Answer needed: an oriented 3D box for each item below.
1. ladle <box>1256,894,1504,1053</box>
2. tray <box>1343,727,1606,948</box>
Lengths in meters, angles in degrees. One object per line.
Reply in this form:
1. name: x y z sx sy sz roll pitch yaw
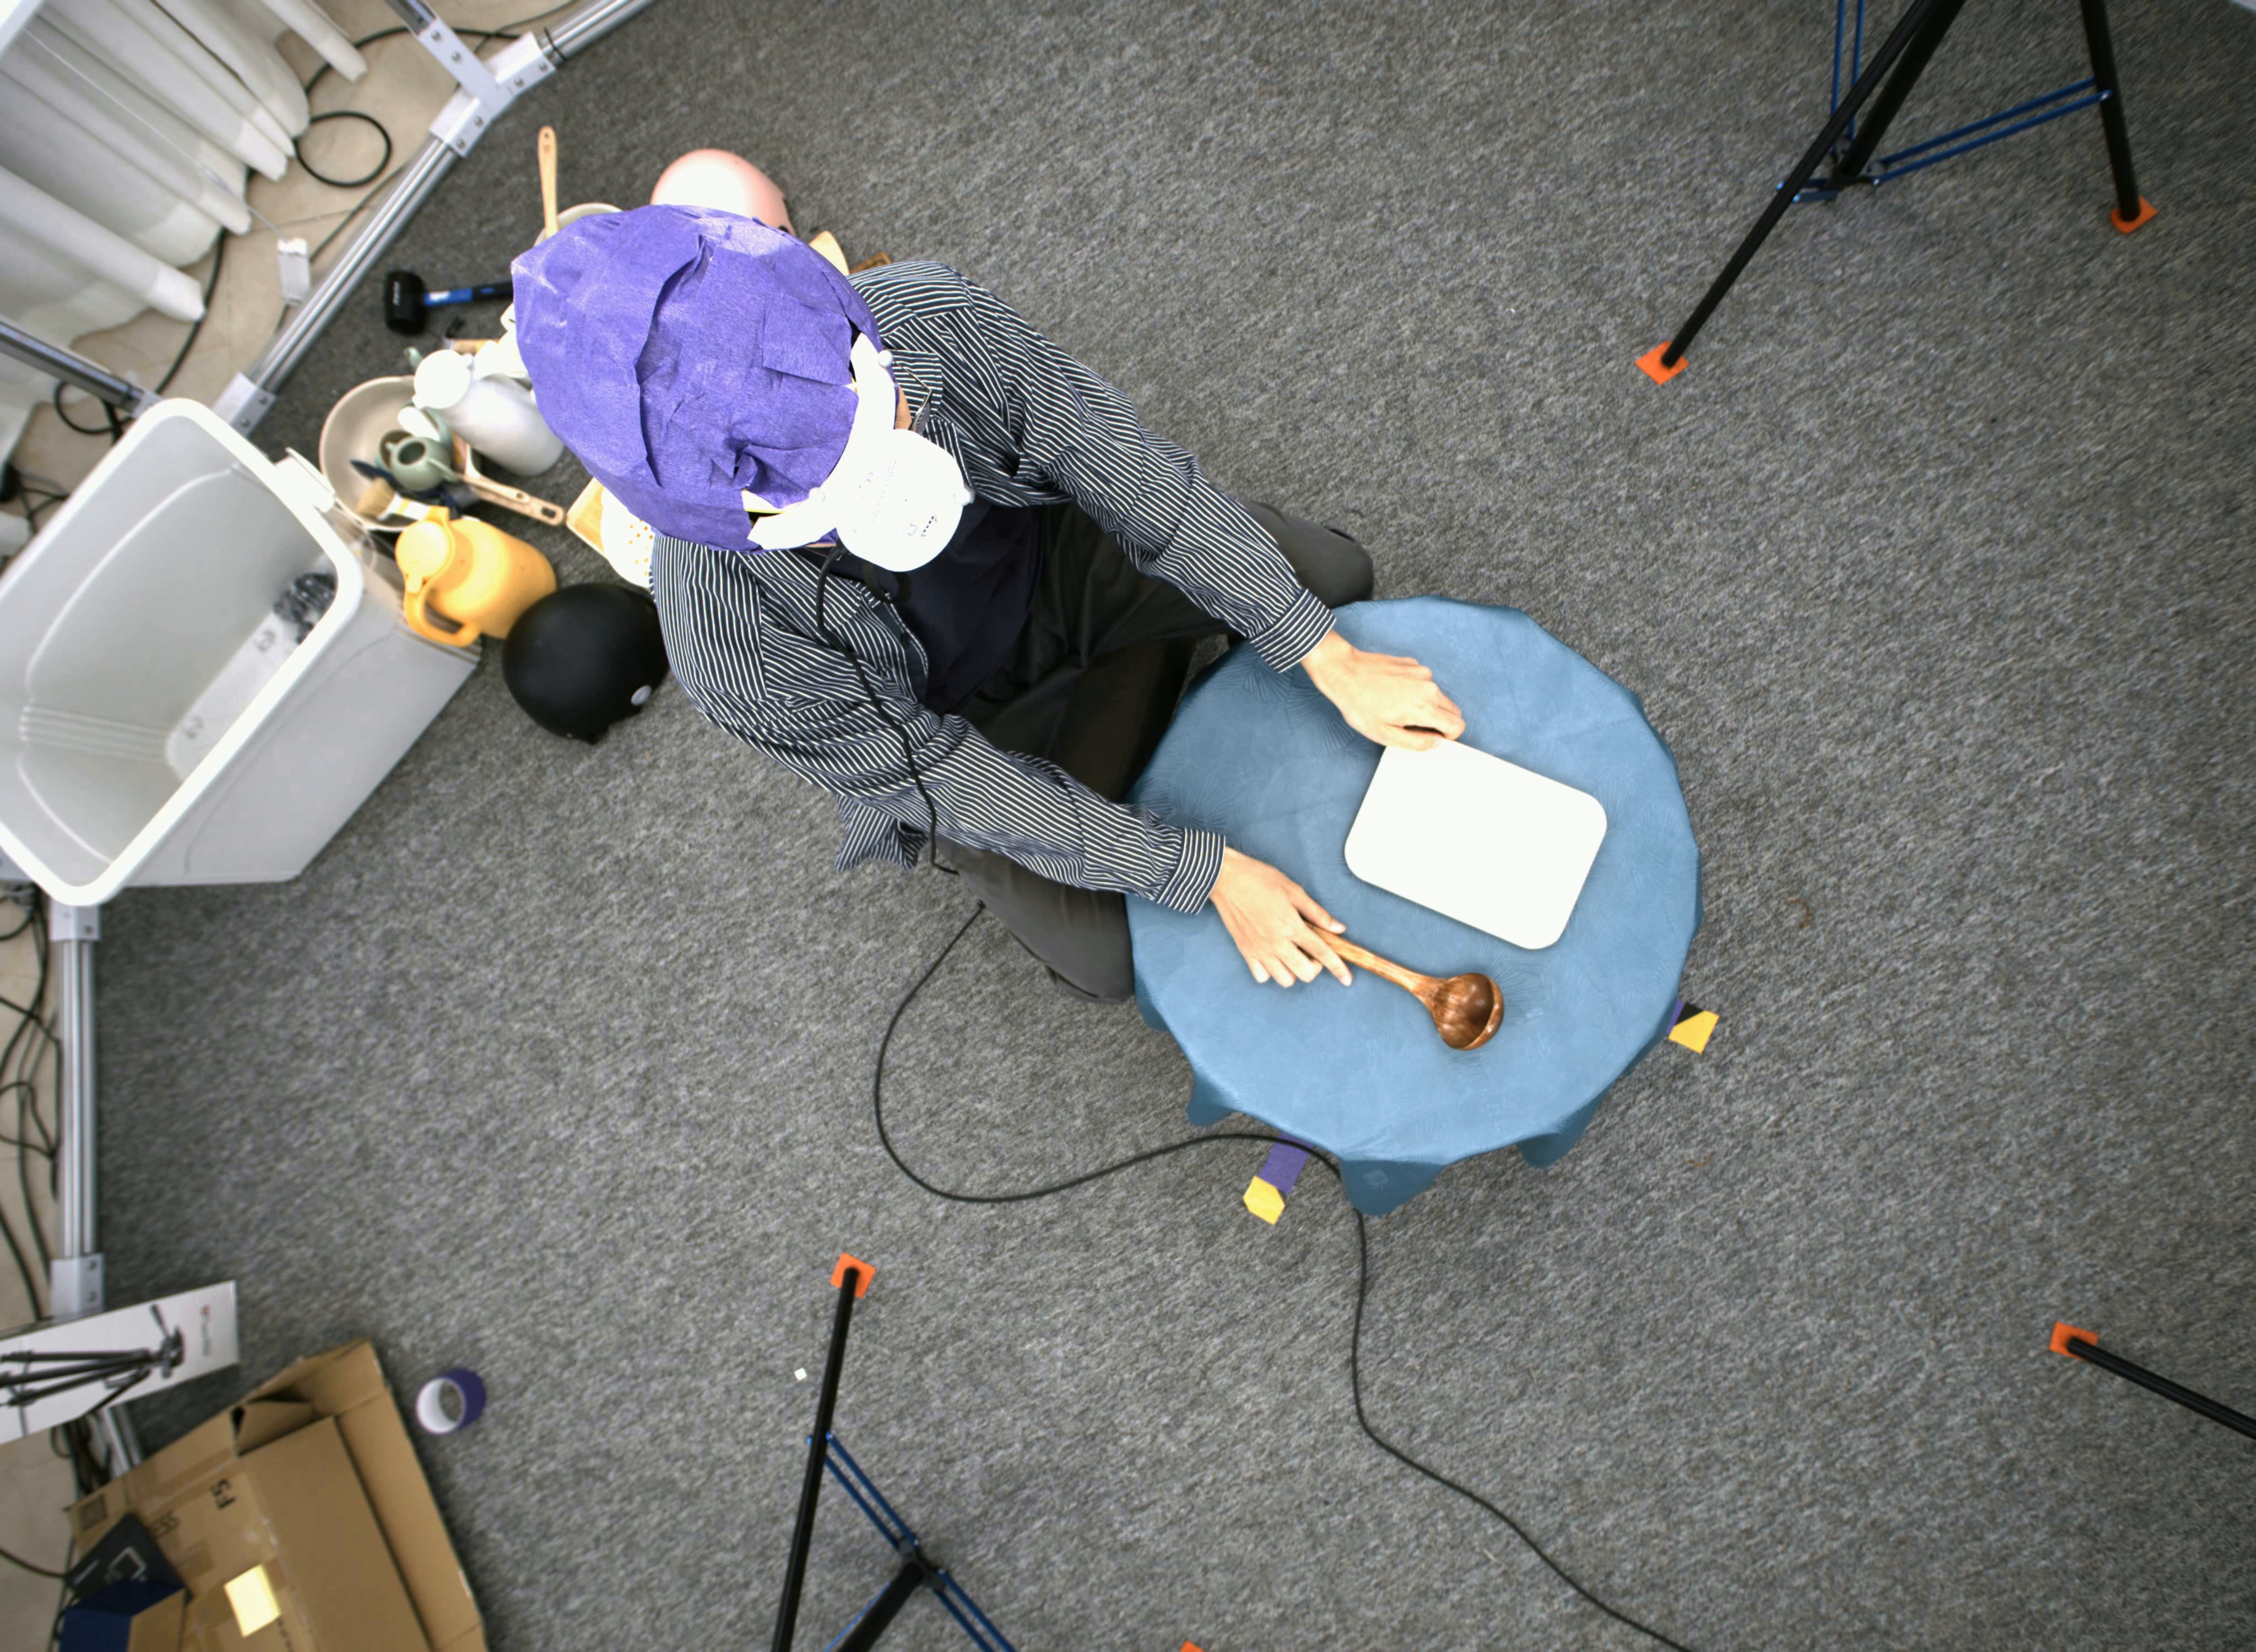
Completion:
1. ladle: 0.251 0.141 1.410 0.274 0.077 0.082 27 90 9
2. tray: 0.356 0.009 1.421 0.239 0.017 0.172 23 96 10
